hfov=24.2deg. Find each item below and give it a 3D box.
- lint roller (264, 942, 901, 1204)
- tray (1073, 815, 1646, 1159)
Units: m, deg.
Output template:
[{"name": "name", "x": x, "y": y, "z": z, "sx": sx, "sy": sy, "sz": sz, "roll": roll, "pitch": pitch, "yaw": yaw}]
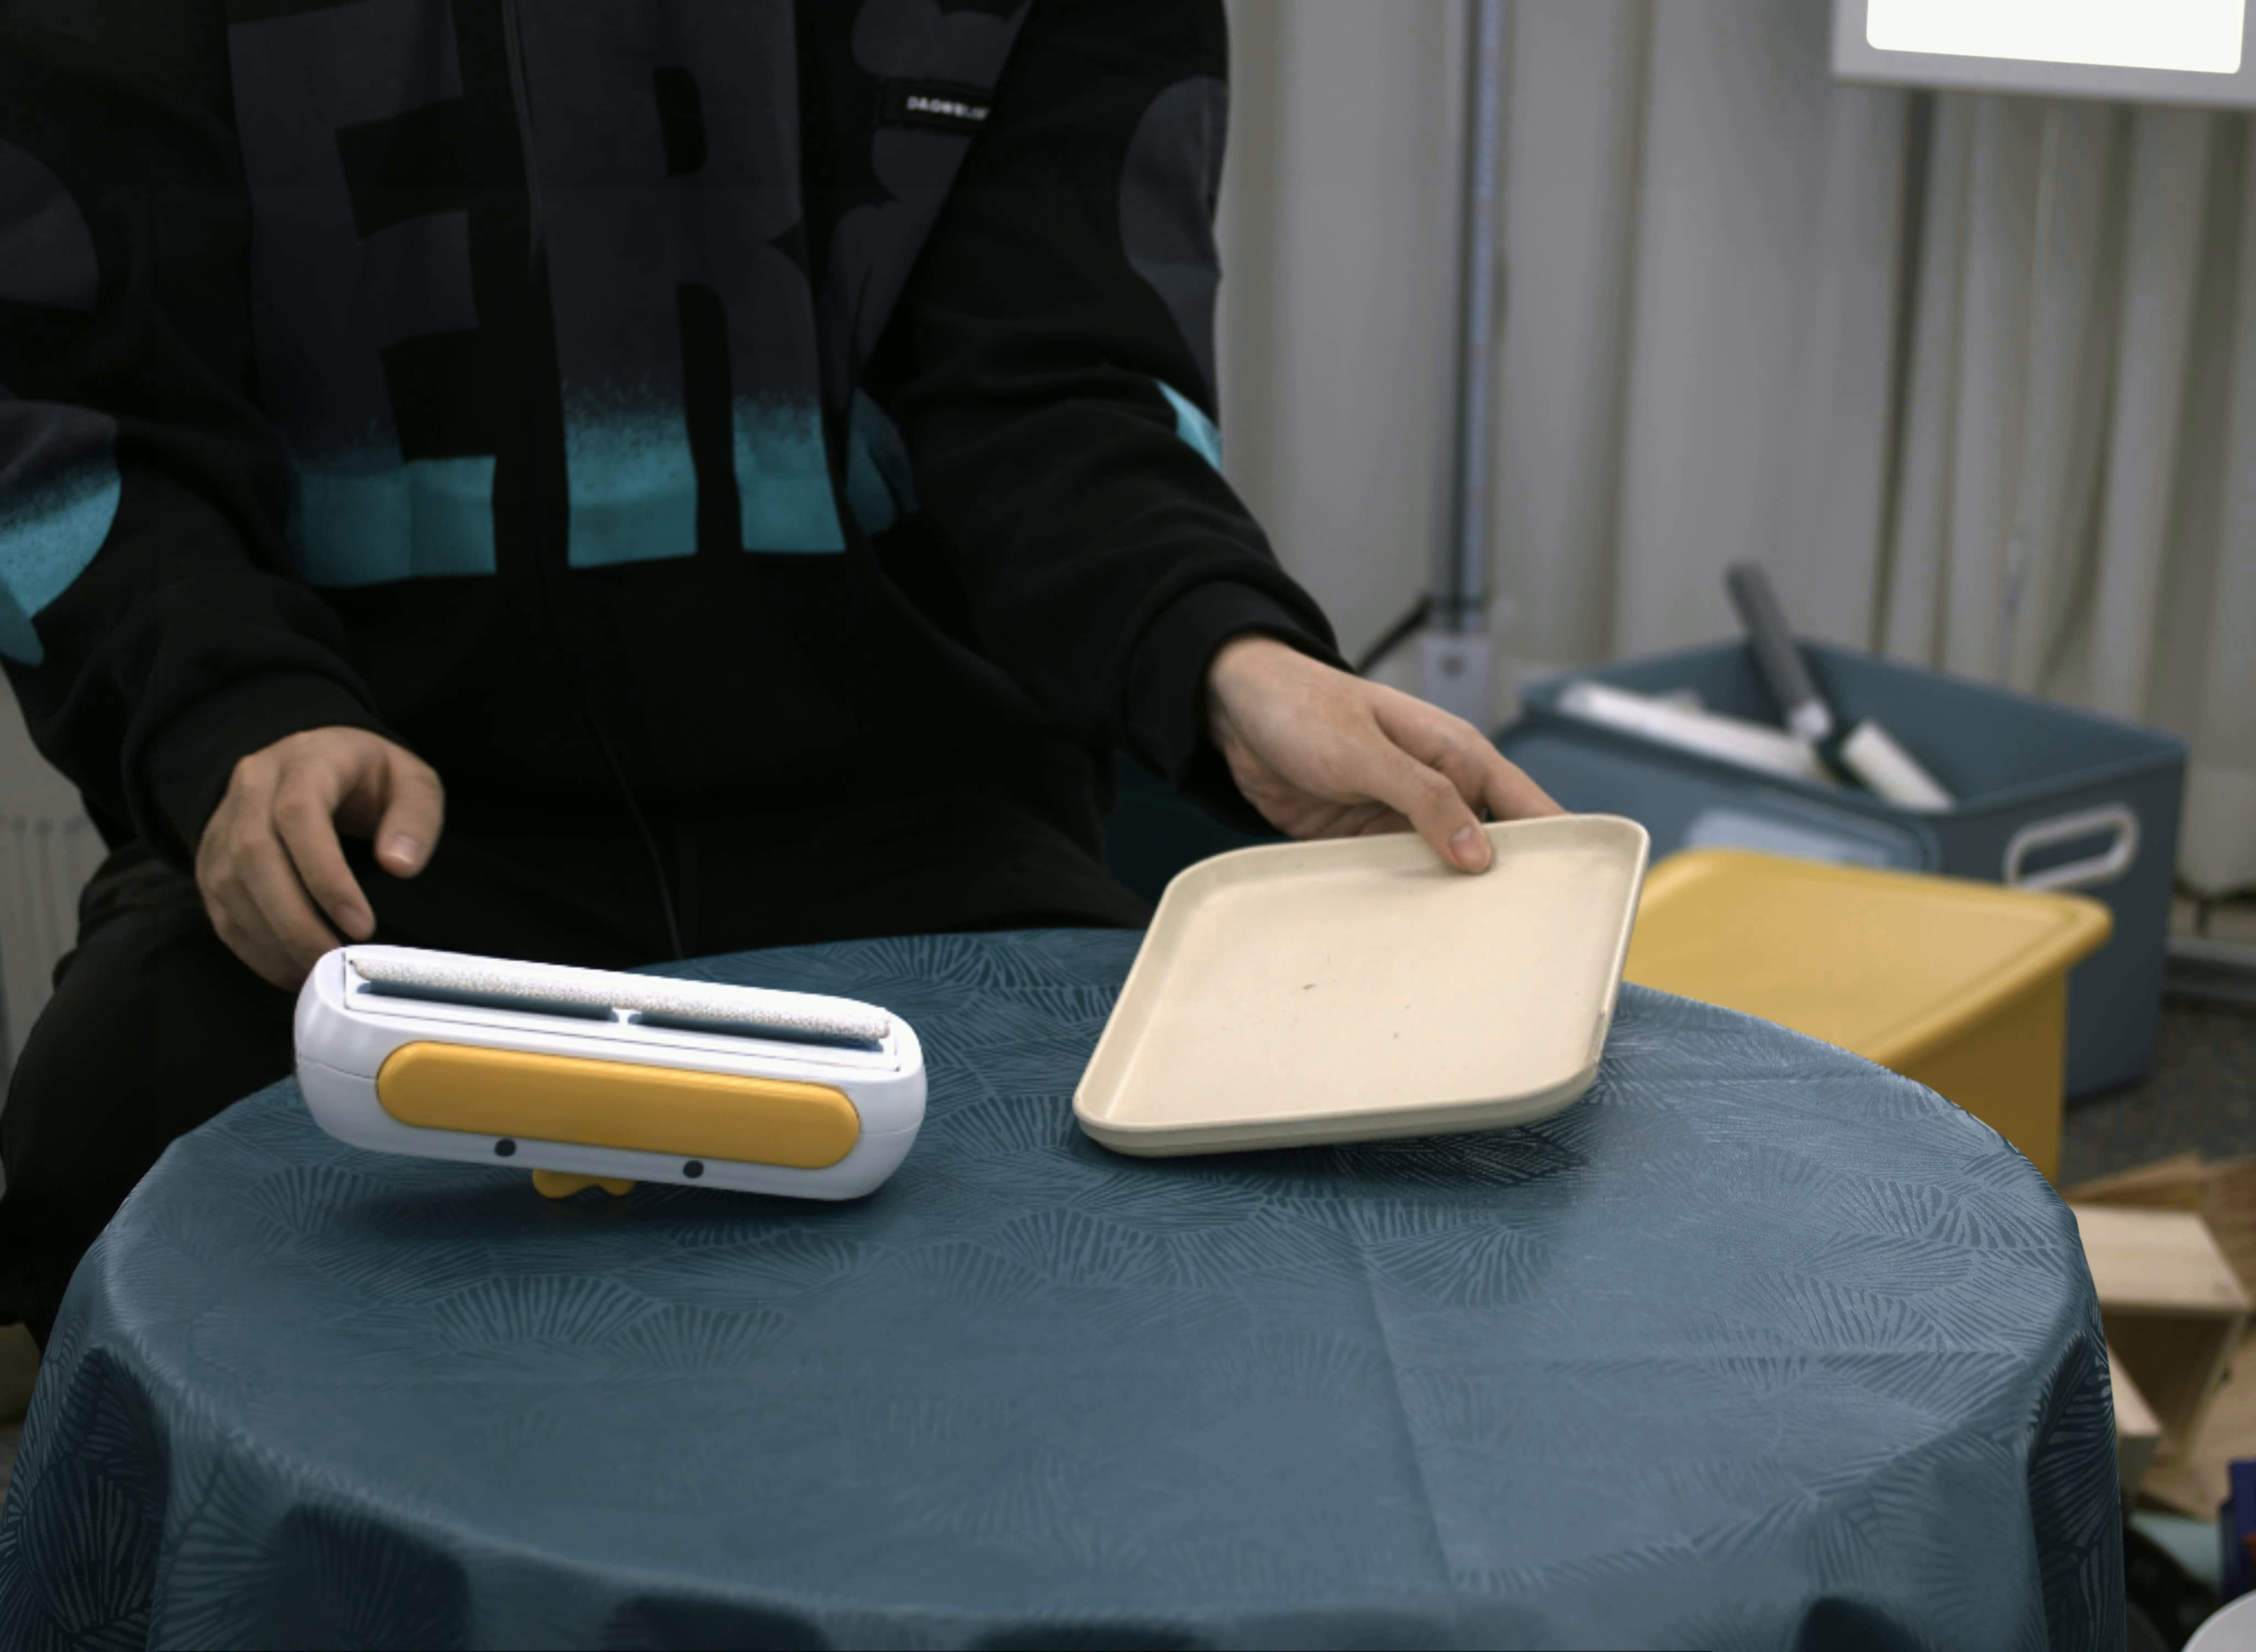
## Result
[{"name": "lint roller", "x": -0.172, "y": 0.067, "z": 1.651, "sx": 0.193, "sy": 0.075, "sz": 0.191, "roll": 4, "pitch": 14, "yaw": -8}, {"name": "tray", "x": 0.081, "y": 0.052, "z": 1.731, "sx": 0.170, "sy": 0.017, "sz": 0.239, "roll": -7, "pitch": 19, "yaw": 13}]
